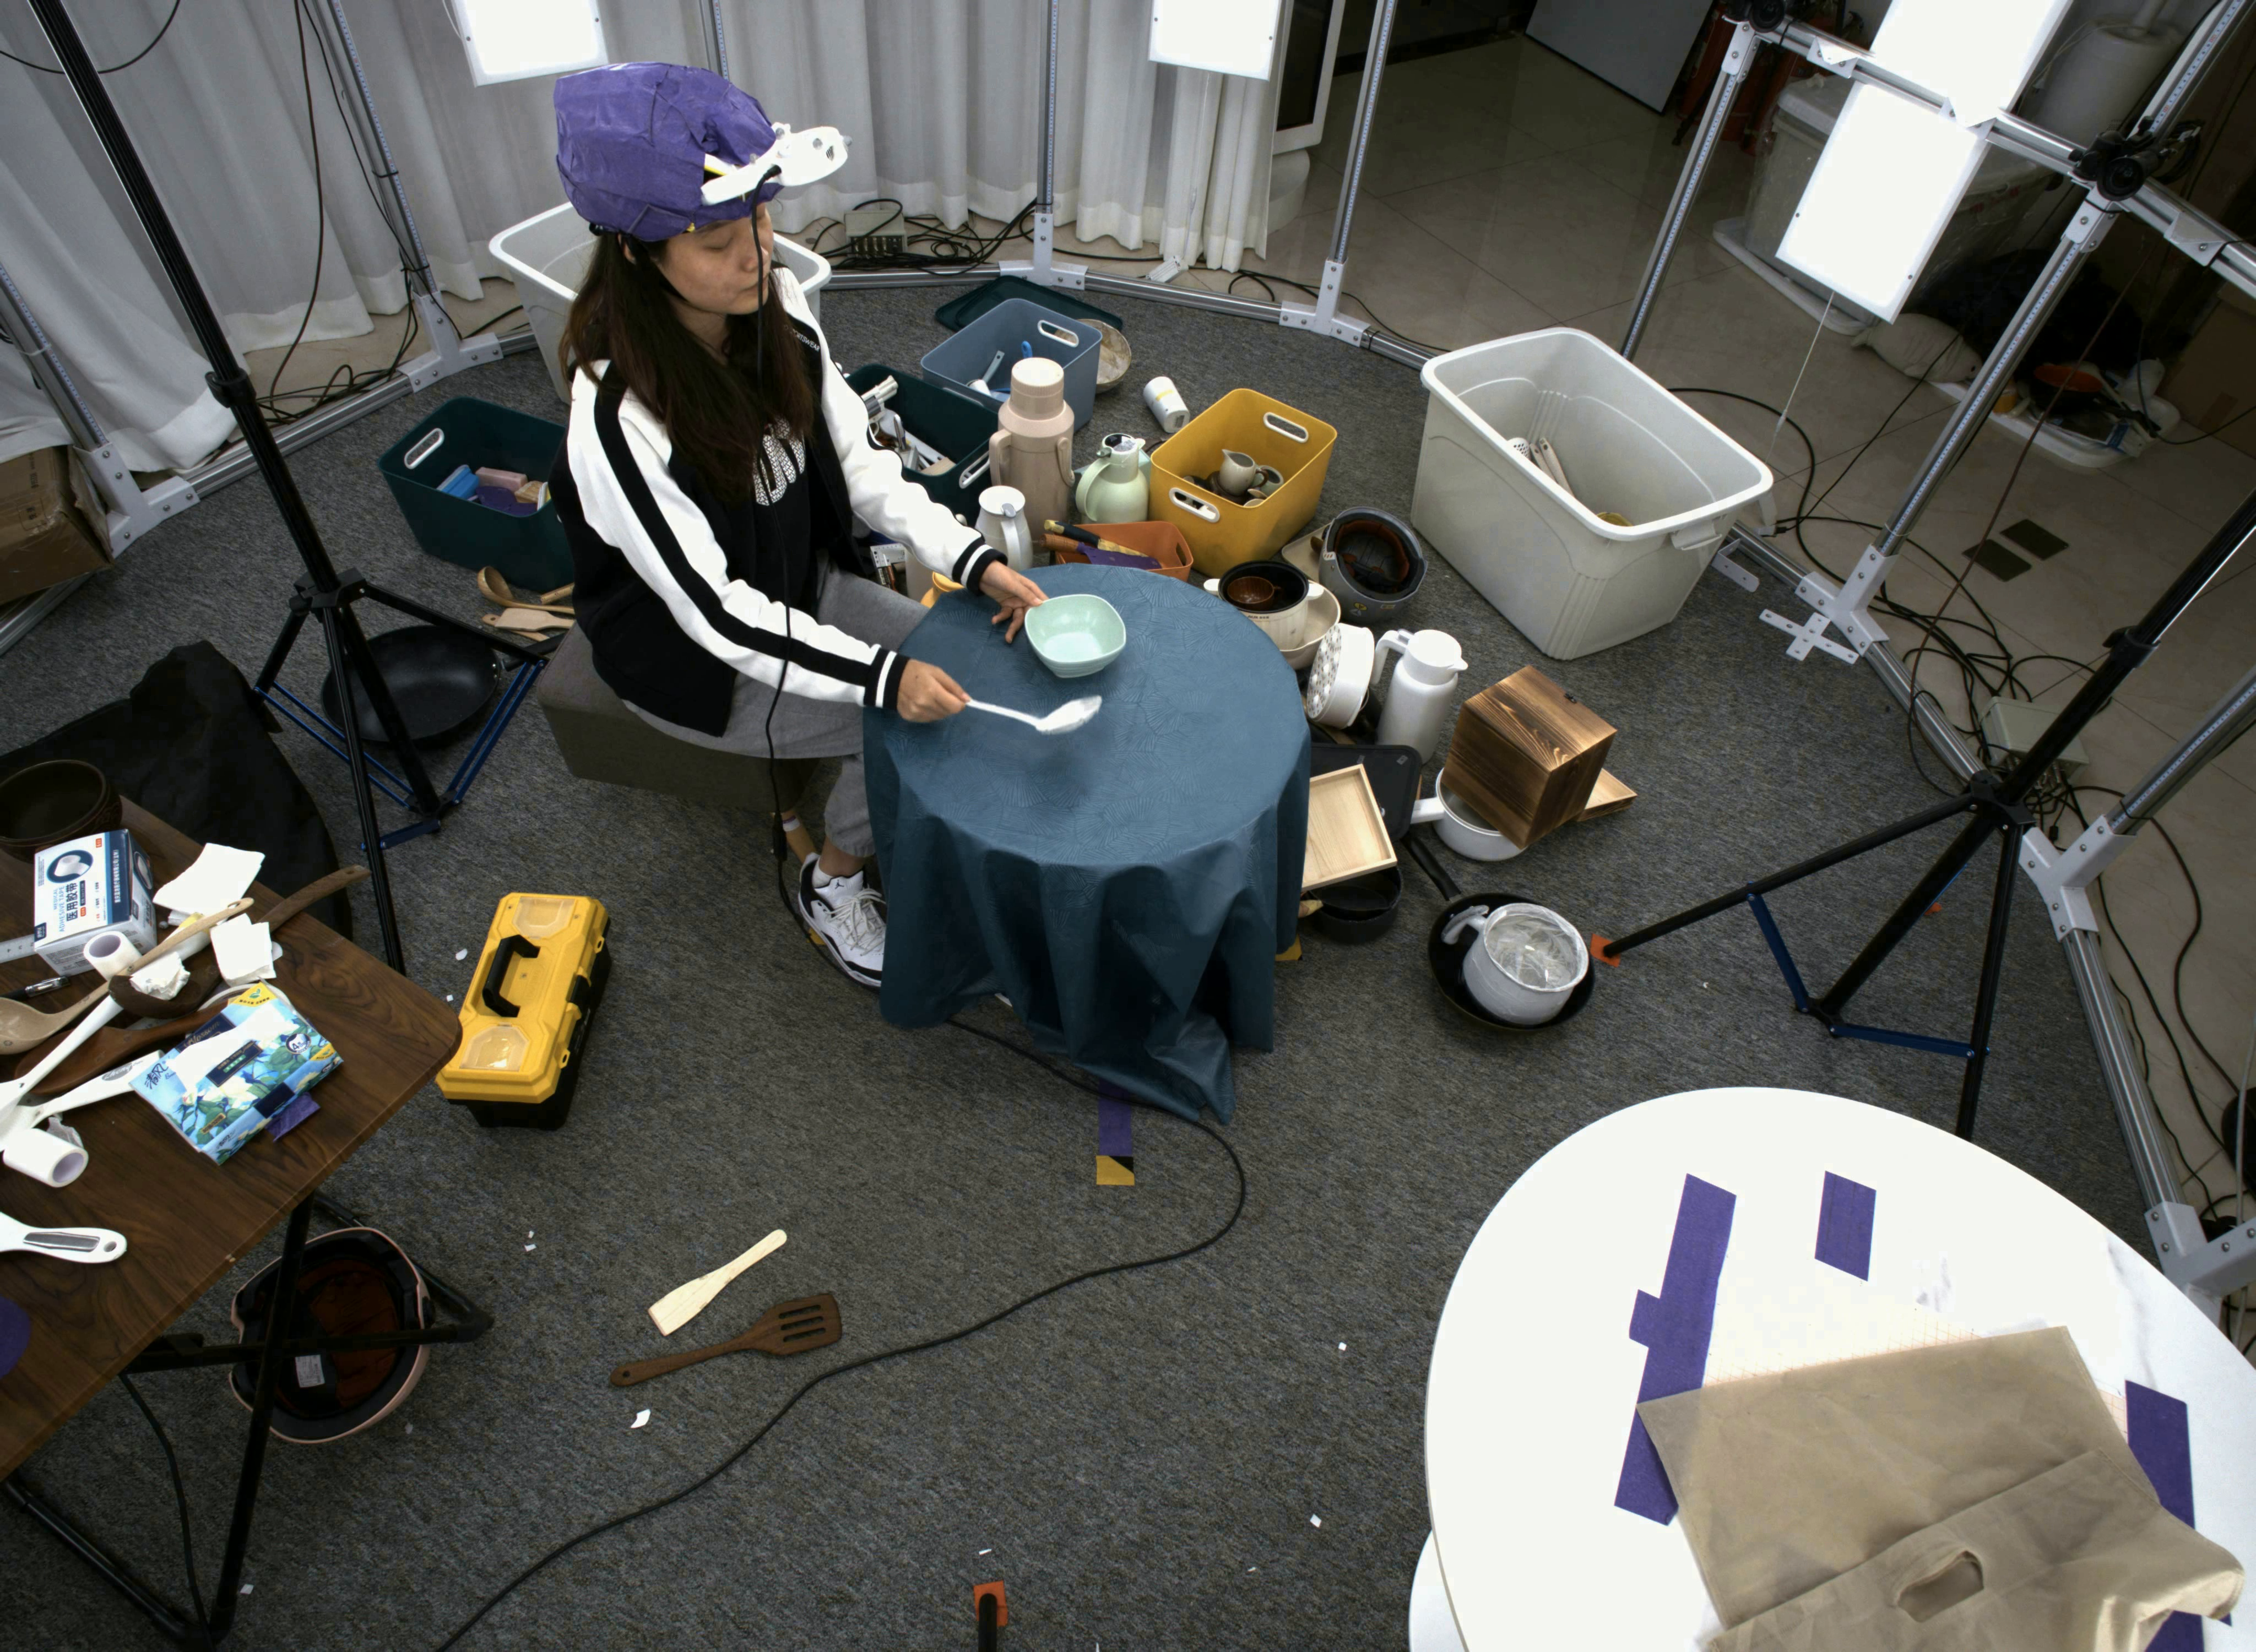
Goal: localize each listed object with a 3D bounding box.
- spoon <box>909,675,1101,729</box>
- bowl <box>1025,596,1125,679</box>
[{"bbox_3d":[-0.168,-0.185,1.718,0.279,0.058,0.102,19,30,17],"label":"spoon"},{"bbox_3d":[-0.078,-0.264,1.860,0.151,0.057,0.155,2,49,-2],"label":"bowl"}]
